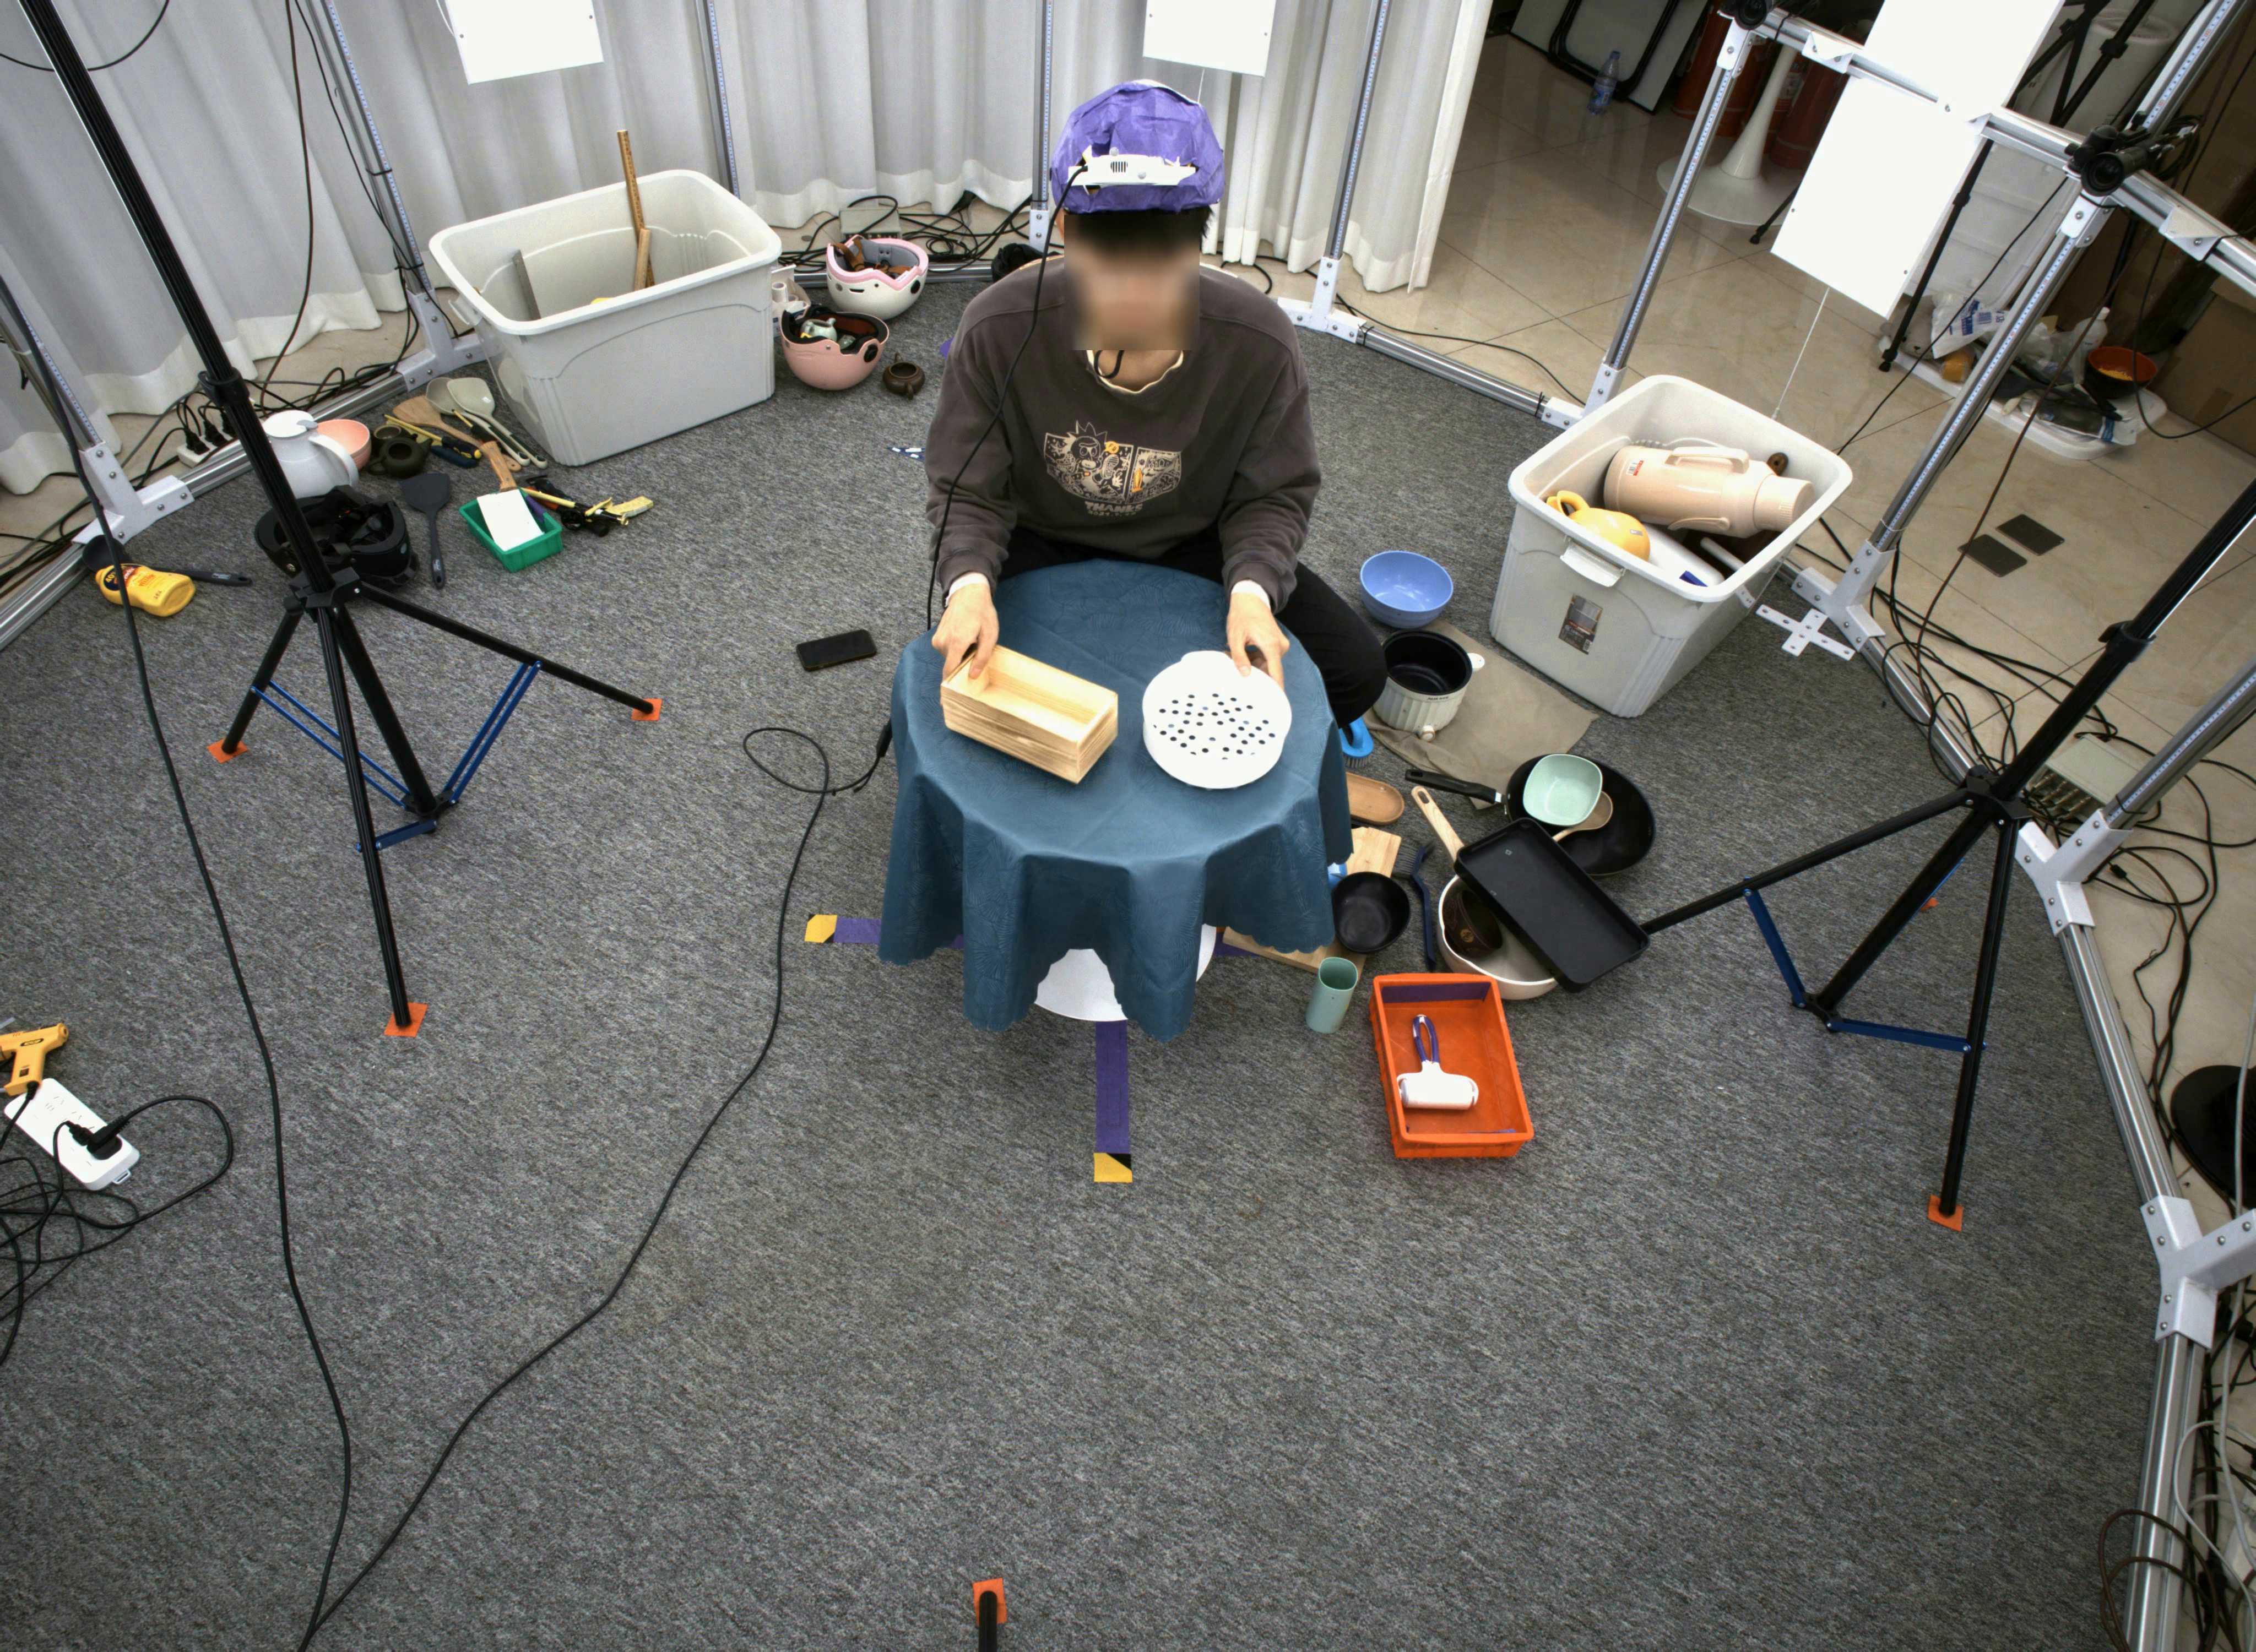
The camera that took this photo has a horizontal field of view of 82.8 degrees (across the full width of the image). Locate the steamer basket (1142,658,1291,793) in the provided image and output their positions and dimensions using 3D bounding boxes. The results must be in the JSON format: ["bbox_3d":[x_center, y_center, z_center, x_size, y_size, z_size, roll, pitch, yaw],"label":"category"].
[{"bbox_3d":[0.119,-0.134,1.749,0.201,0.067,0.236,-3,46,-6],"label":"steamer basket"}]

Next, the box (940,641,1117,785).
[{"bbox_3d":[-0.132,-0.154,1.721,0.213,0.078,0.109,24,52,20],"label":"box"}]
